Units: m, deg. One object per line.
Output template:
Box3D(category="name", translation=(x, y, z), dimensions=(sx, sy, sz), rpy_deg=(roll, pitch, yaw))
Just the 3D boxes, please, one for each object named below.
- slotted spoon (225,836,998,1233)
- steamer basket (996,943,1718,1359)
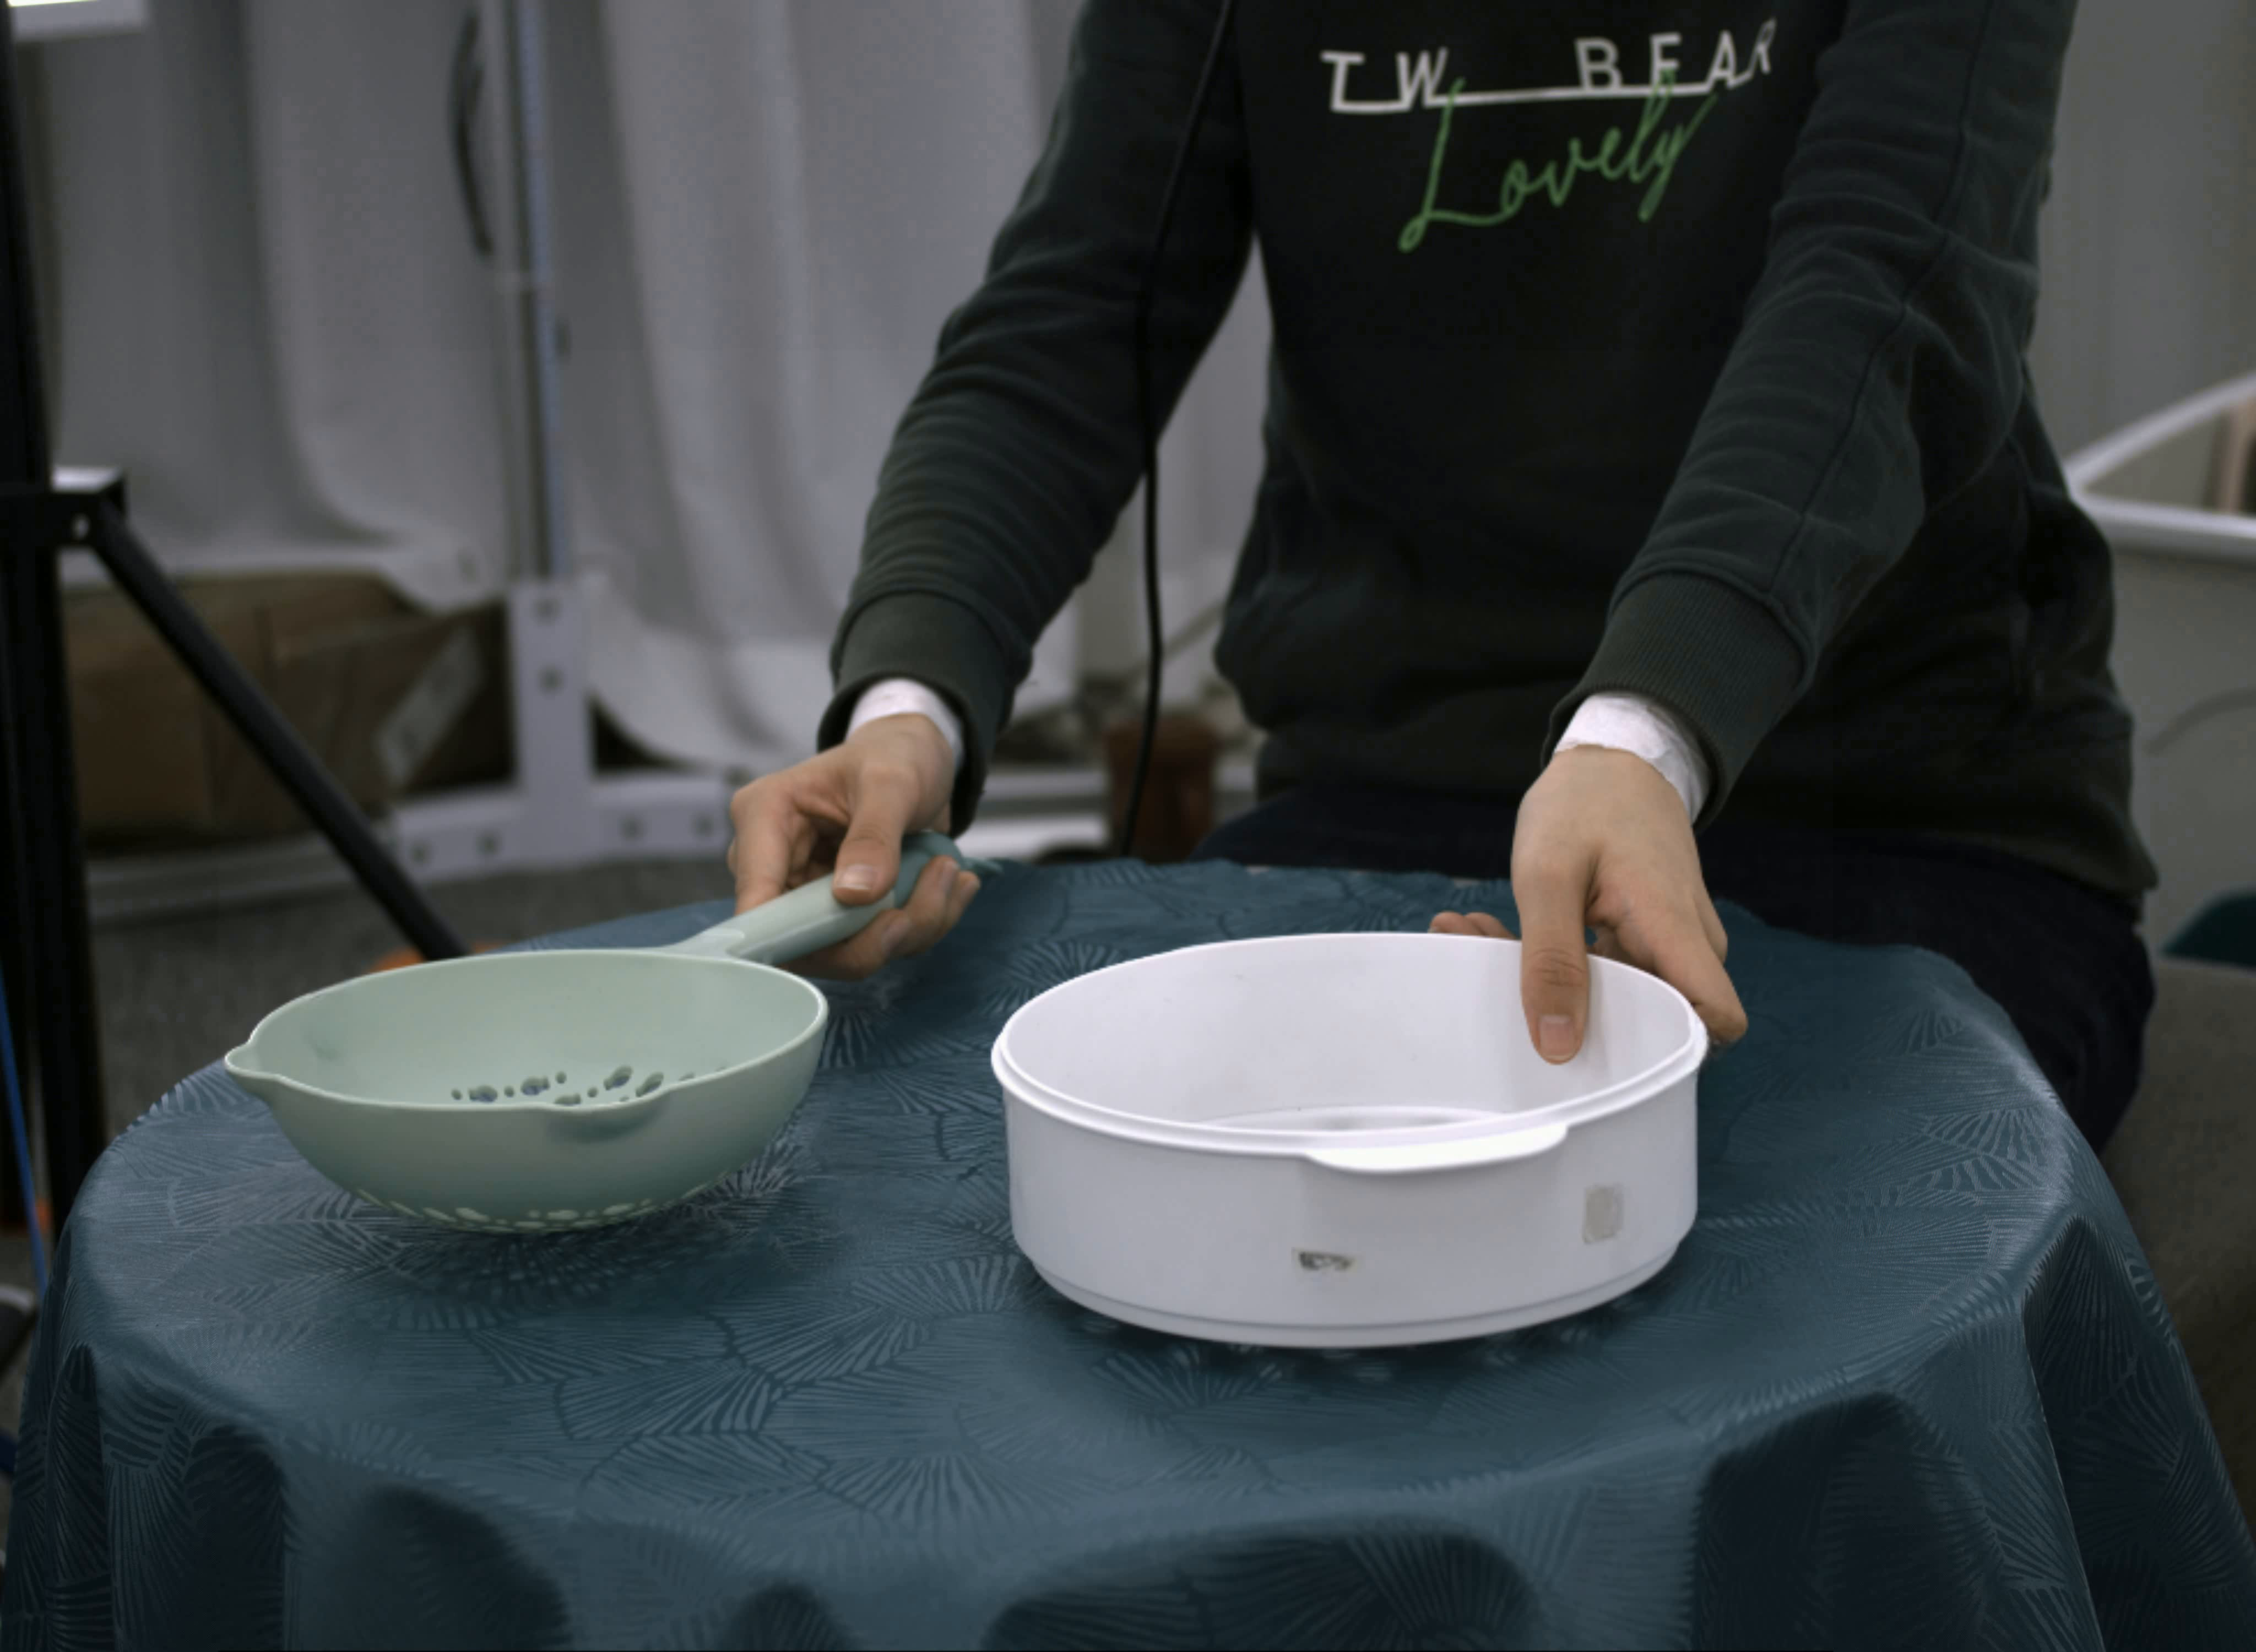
Box3D(category="slotted spoon", translation=(-0.128, 0.048, 1.641), dimensions=(0.172, 0.075, 0.354), rpy_deg=(5, 23, 26))
Box3D(category="steamer basket", translation=(0.064, 0.090, 1.483), dimensions=(0.199, 0.069, 0.233), rpy_deg=(-5, 14, -11))
